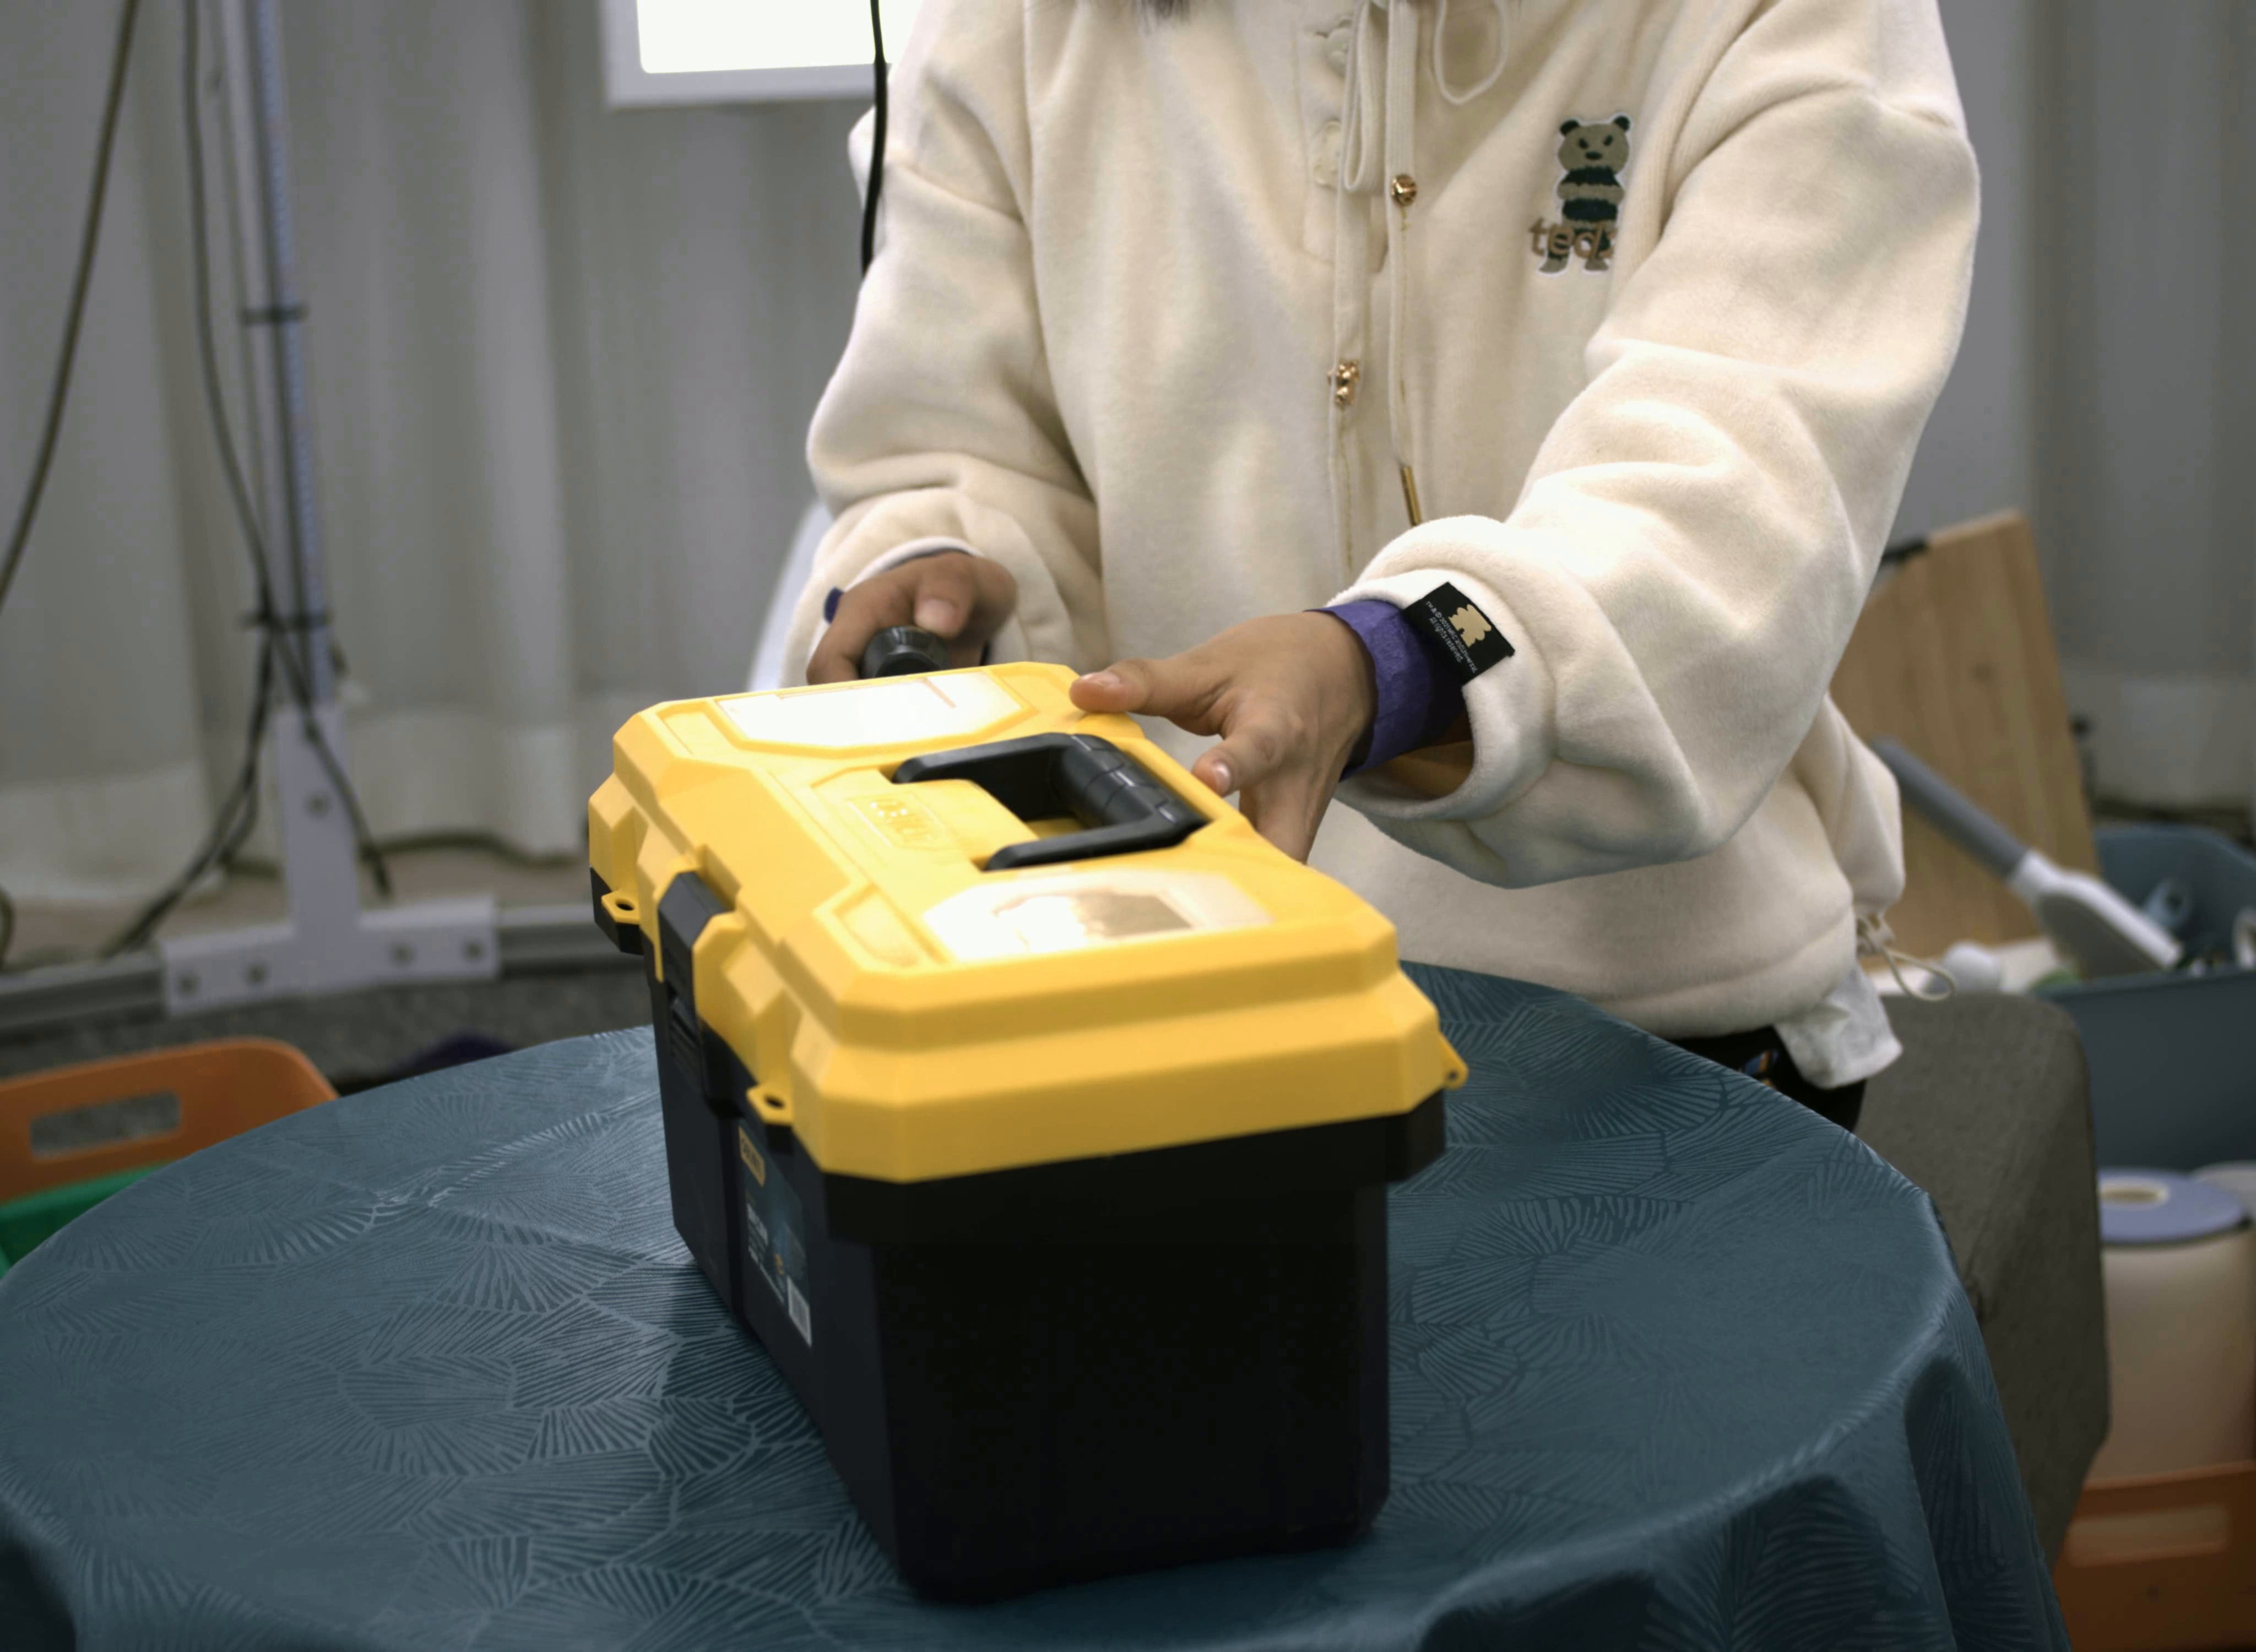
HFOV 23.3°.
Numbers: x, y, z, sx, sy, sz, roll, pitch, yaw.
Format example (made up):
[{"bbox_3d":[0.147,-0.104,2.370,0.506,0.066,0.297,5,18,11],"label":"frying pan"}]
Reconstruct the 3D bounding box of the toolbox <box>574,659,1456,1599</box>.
[{"bbox_3d":[-0.039,0.075,1.536,0.180,0.172,0.354,-6,15,-14],"label":"toolbox"}]

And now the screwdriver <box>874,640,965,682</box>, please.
[{"bbox_3d":[-0.066,-0.040,1.781,0.031,0.031,0.198,-3,7,-3],"label":"screwdriver"}]
